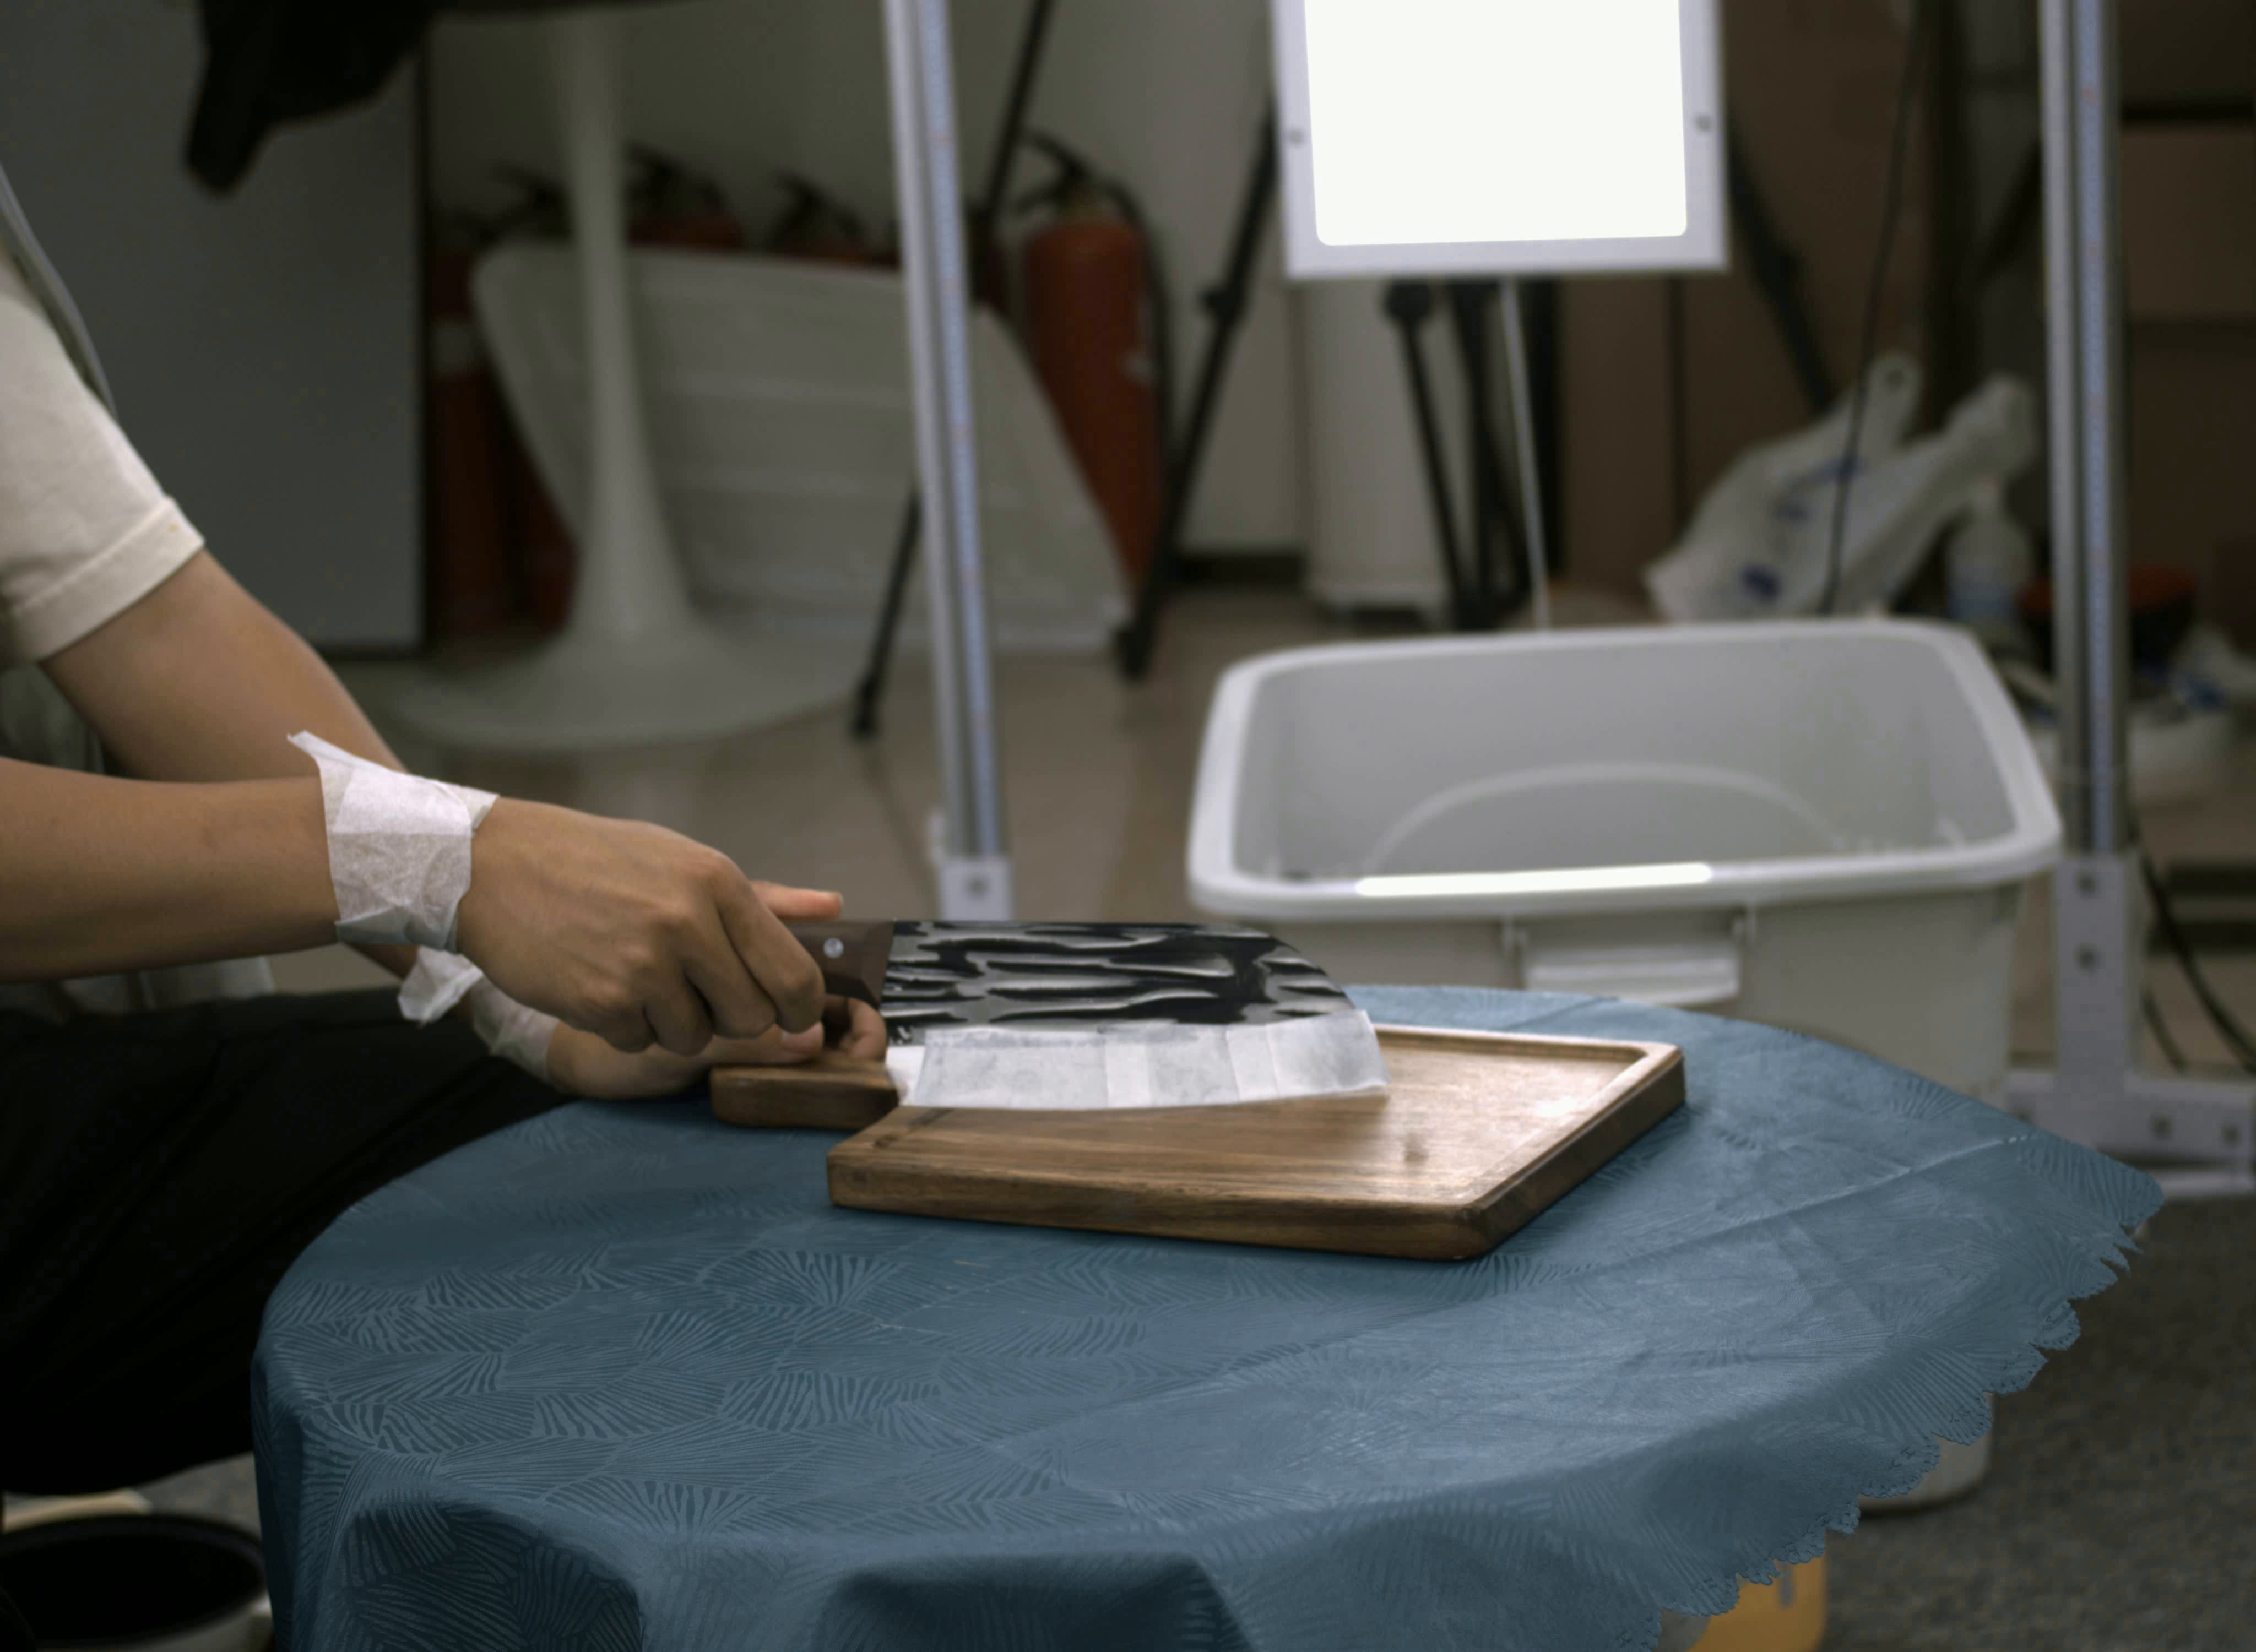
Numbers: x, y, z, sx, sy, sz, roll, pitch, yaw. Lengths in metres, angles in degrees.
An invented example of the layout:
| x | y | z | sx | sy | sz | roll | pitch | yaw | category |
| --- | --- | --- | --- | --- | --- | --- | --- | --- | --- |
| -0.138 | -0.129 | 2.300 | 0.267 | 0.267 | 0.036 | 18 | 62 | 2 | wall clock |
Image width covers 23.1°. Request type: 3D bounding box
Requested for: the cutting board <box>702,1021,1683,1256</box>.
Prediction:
| x | y | z | sx | sy | sz | roll | pitch | yaw | category |
| --- | --- | --- | --- | --- | --- | --- | --- | --- | --- |
| 0.002 | 0.102 | 1.953 | 0.359 | 0.023 | 0.196 | 2 | 15 | 30 | cutting board |

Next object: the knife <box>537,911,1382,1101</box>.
| x | y | z | sx | sy | sz | roll | pitch | yaw | category |
| --- | --- | --- | --- | --- | --- | --- | --- | --- | --- |
| -0.059 | 0.064 | 1.940 | 0.298 | 0.068 | 0.024 | 1 | -11 | 0 | knife |
